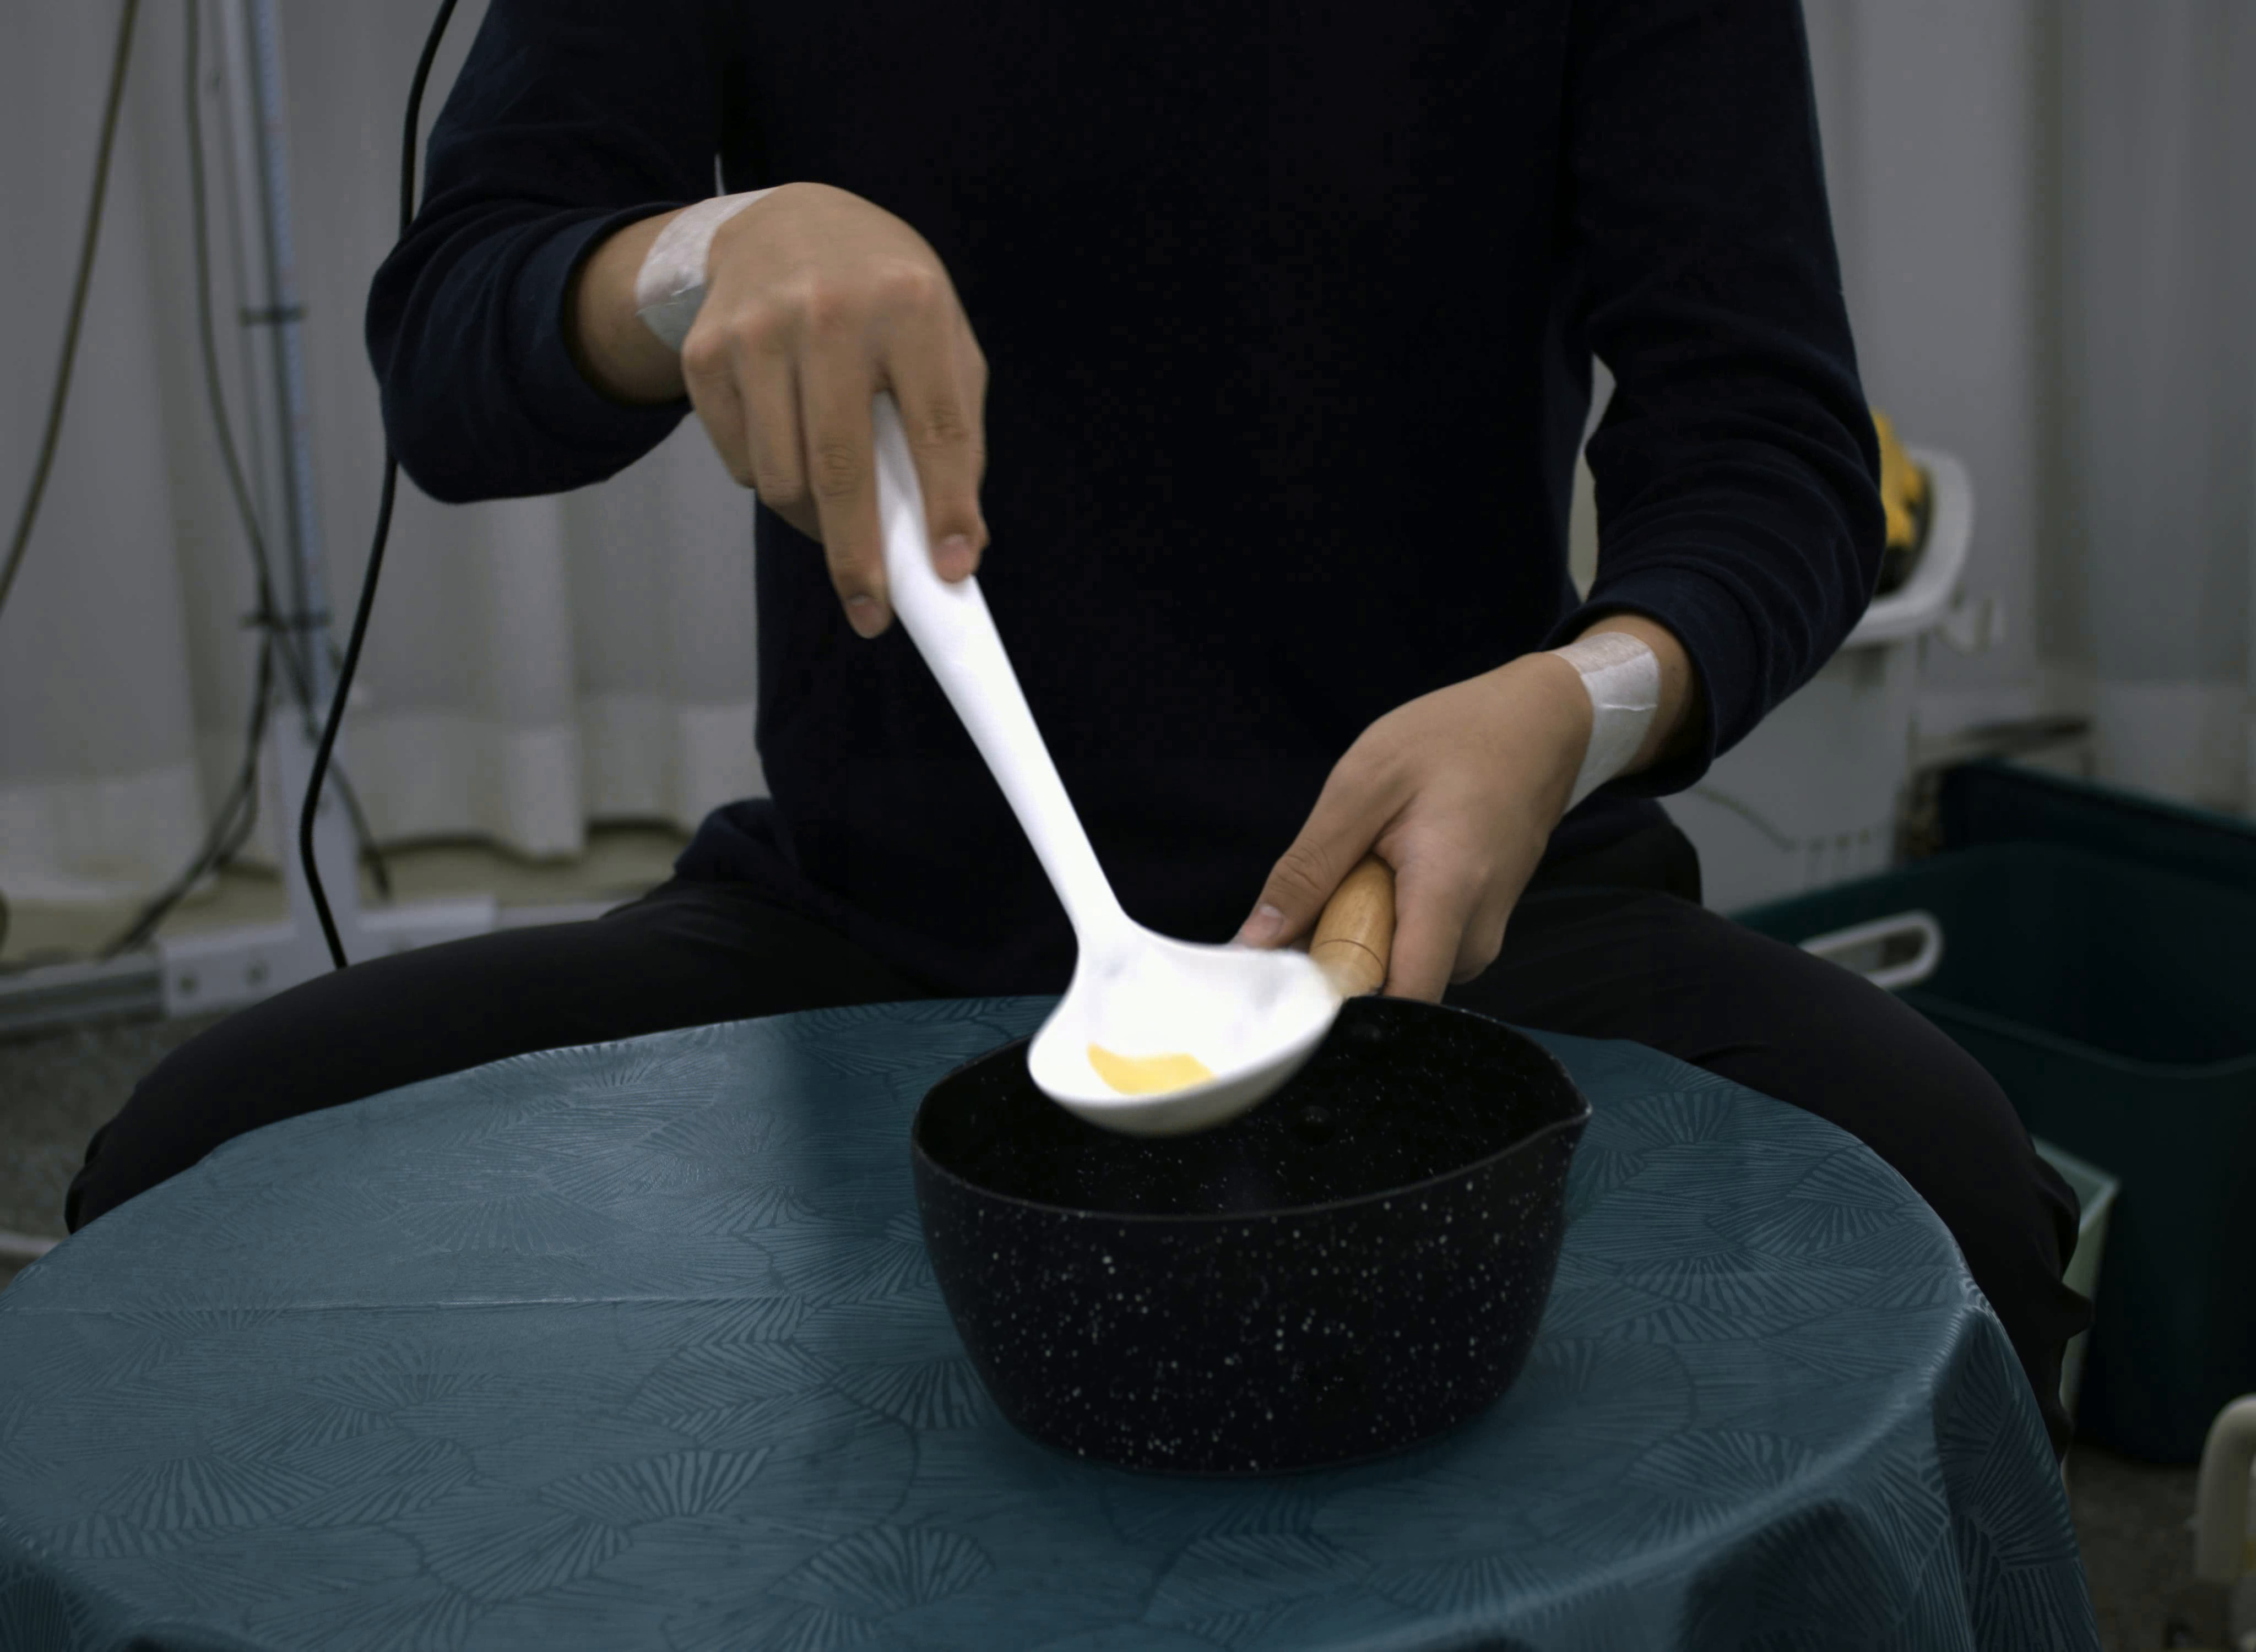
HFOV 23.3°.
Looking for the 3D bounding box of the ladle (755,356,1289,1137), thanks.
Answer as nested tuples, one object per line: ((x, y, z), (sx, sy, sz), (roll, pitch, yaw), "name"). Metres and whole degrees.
((-0.043, -0.030, 1.585), (0.090, 0.069, 0.297), (-25, 60, -5), "ladle")

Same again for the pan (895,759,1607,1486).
((0.051, 0.082, 1.606), (0.207, 0.107, 0.345), (-1, 18, 14), "pan")
